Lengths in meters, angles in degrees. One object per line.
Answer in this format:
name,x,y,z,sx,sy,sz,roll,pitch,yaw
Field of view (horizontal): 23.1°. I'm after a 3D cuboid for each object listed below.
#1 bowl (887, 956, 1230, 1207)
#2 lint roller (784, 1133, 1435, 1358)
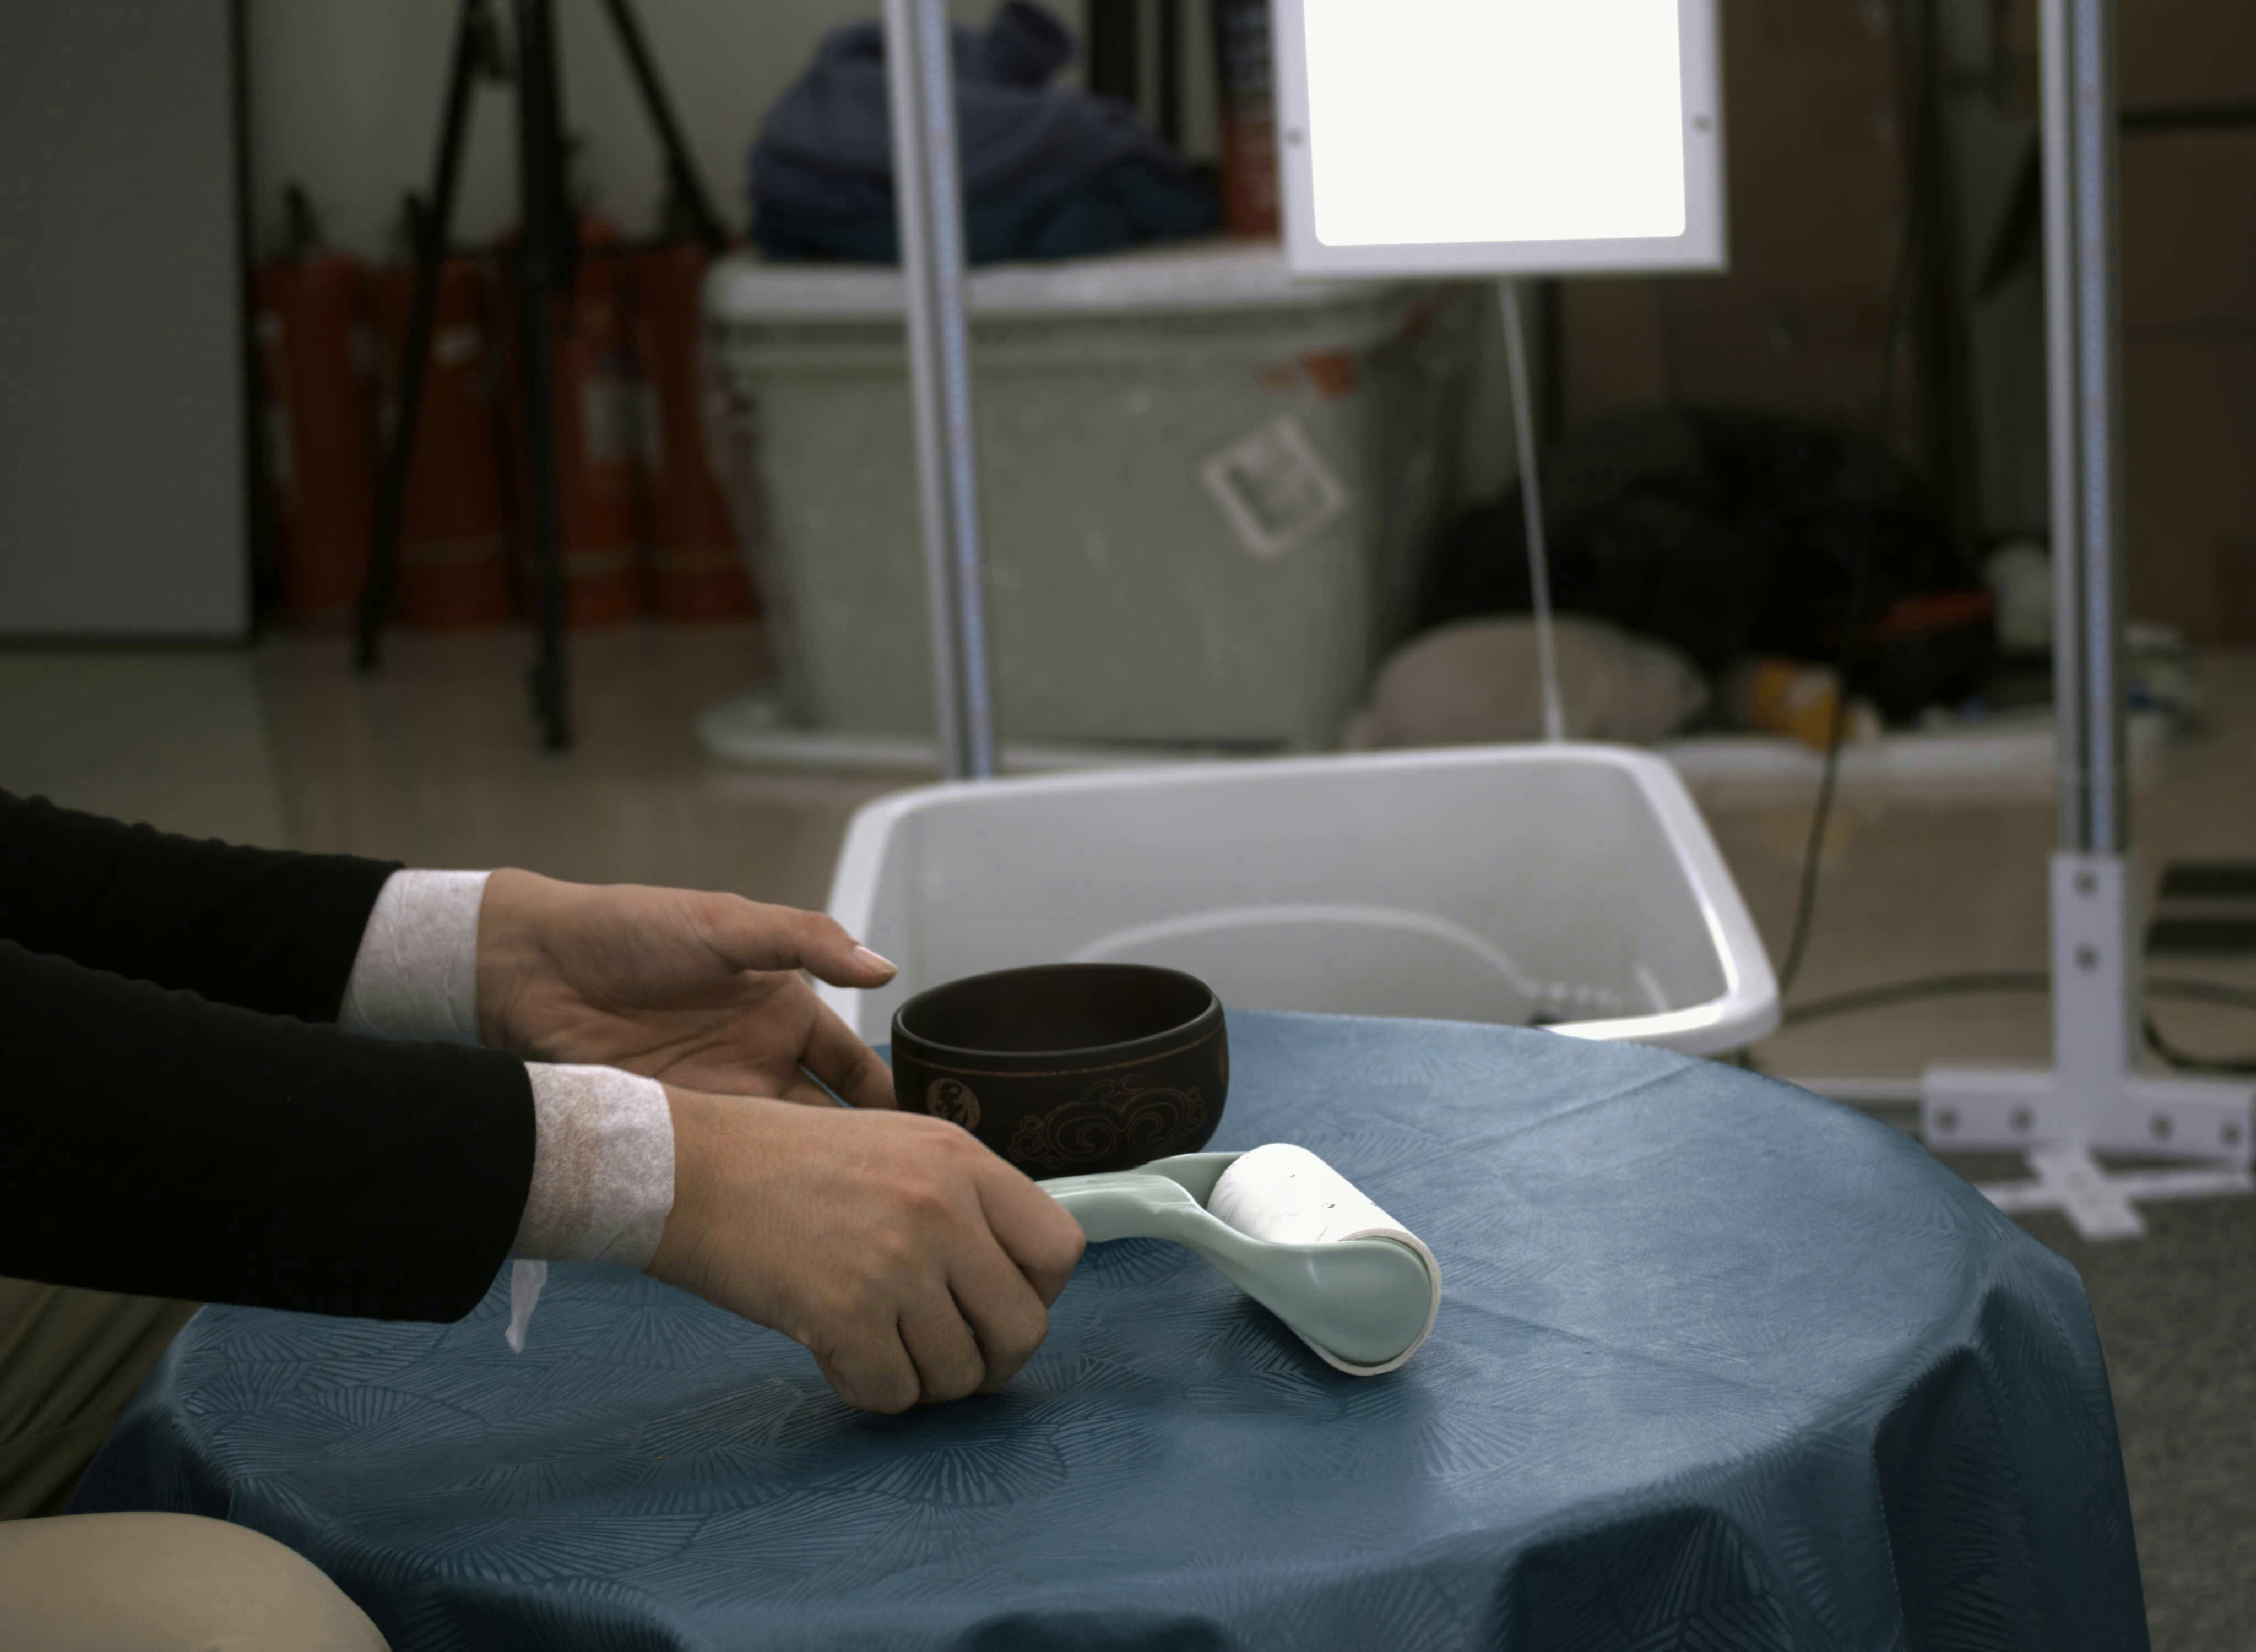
bowl,-0.022,0.094,1.891,0.118,0.070,0.118,-6,15,0
lint roller,-0.012,0.134,1.726,0.195,0.049,0.117,-1,13,-14
